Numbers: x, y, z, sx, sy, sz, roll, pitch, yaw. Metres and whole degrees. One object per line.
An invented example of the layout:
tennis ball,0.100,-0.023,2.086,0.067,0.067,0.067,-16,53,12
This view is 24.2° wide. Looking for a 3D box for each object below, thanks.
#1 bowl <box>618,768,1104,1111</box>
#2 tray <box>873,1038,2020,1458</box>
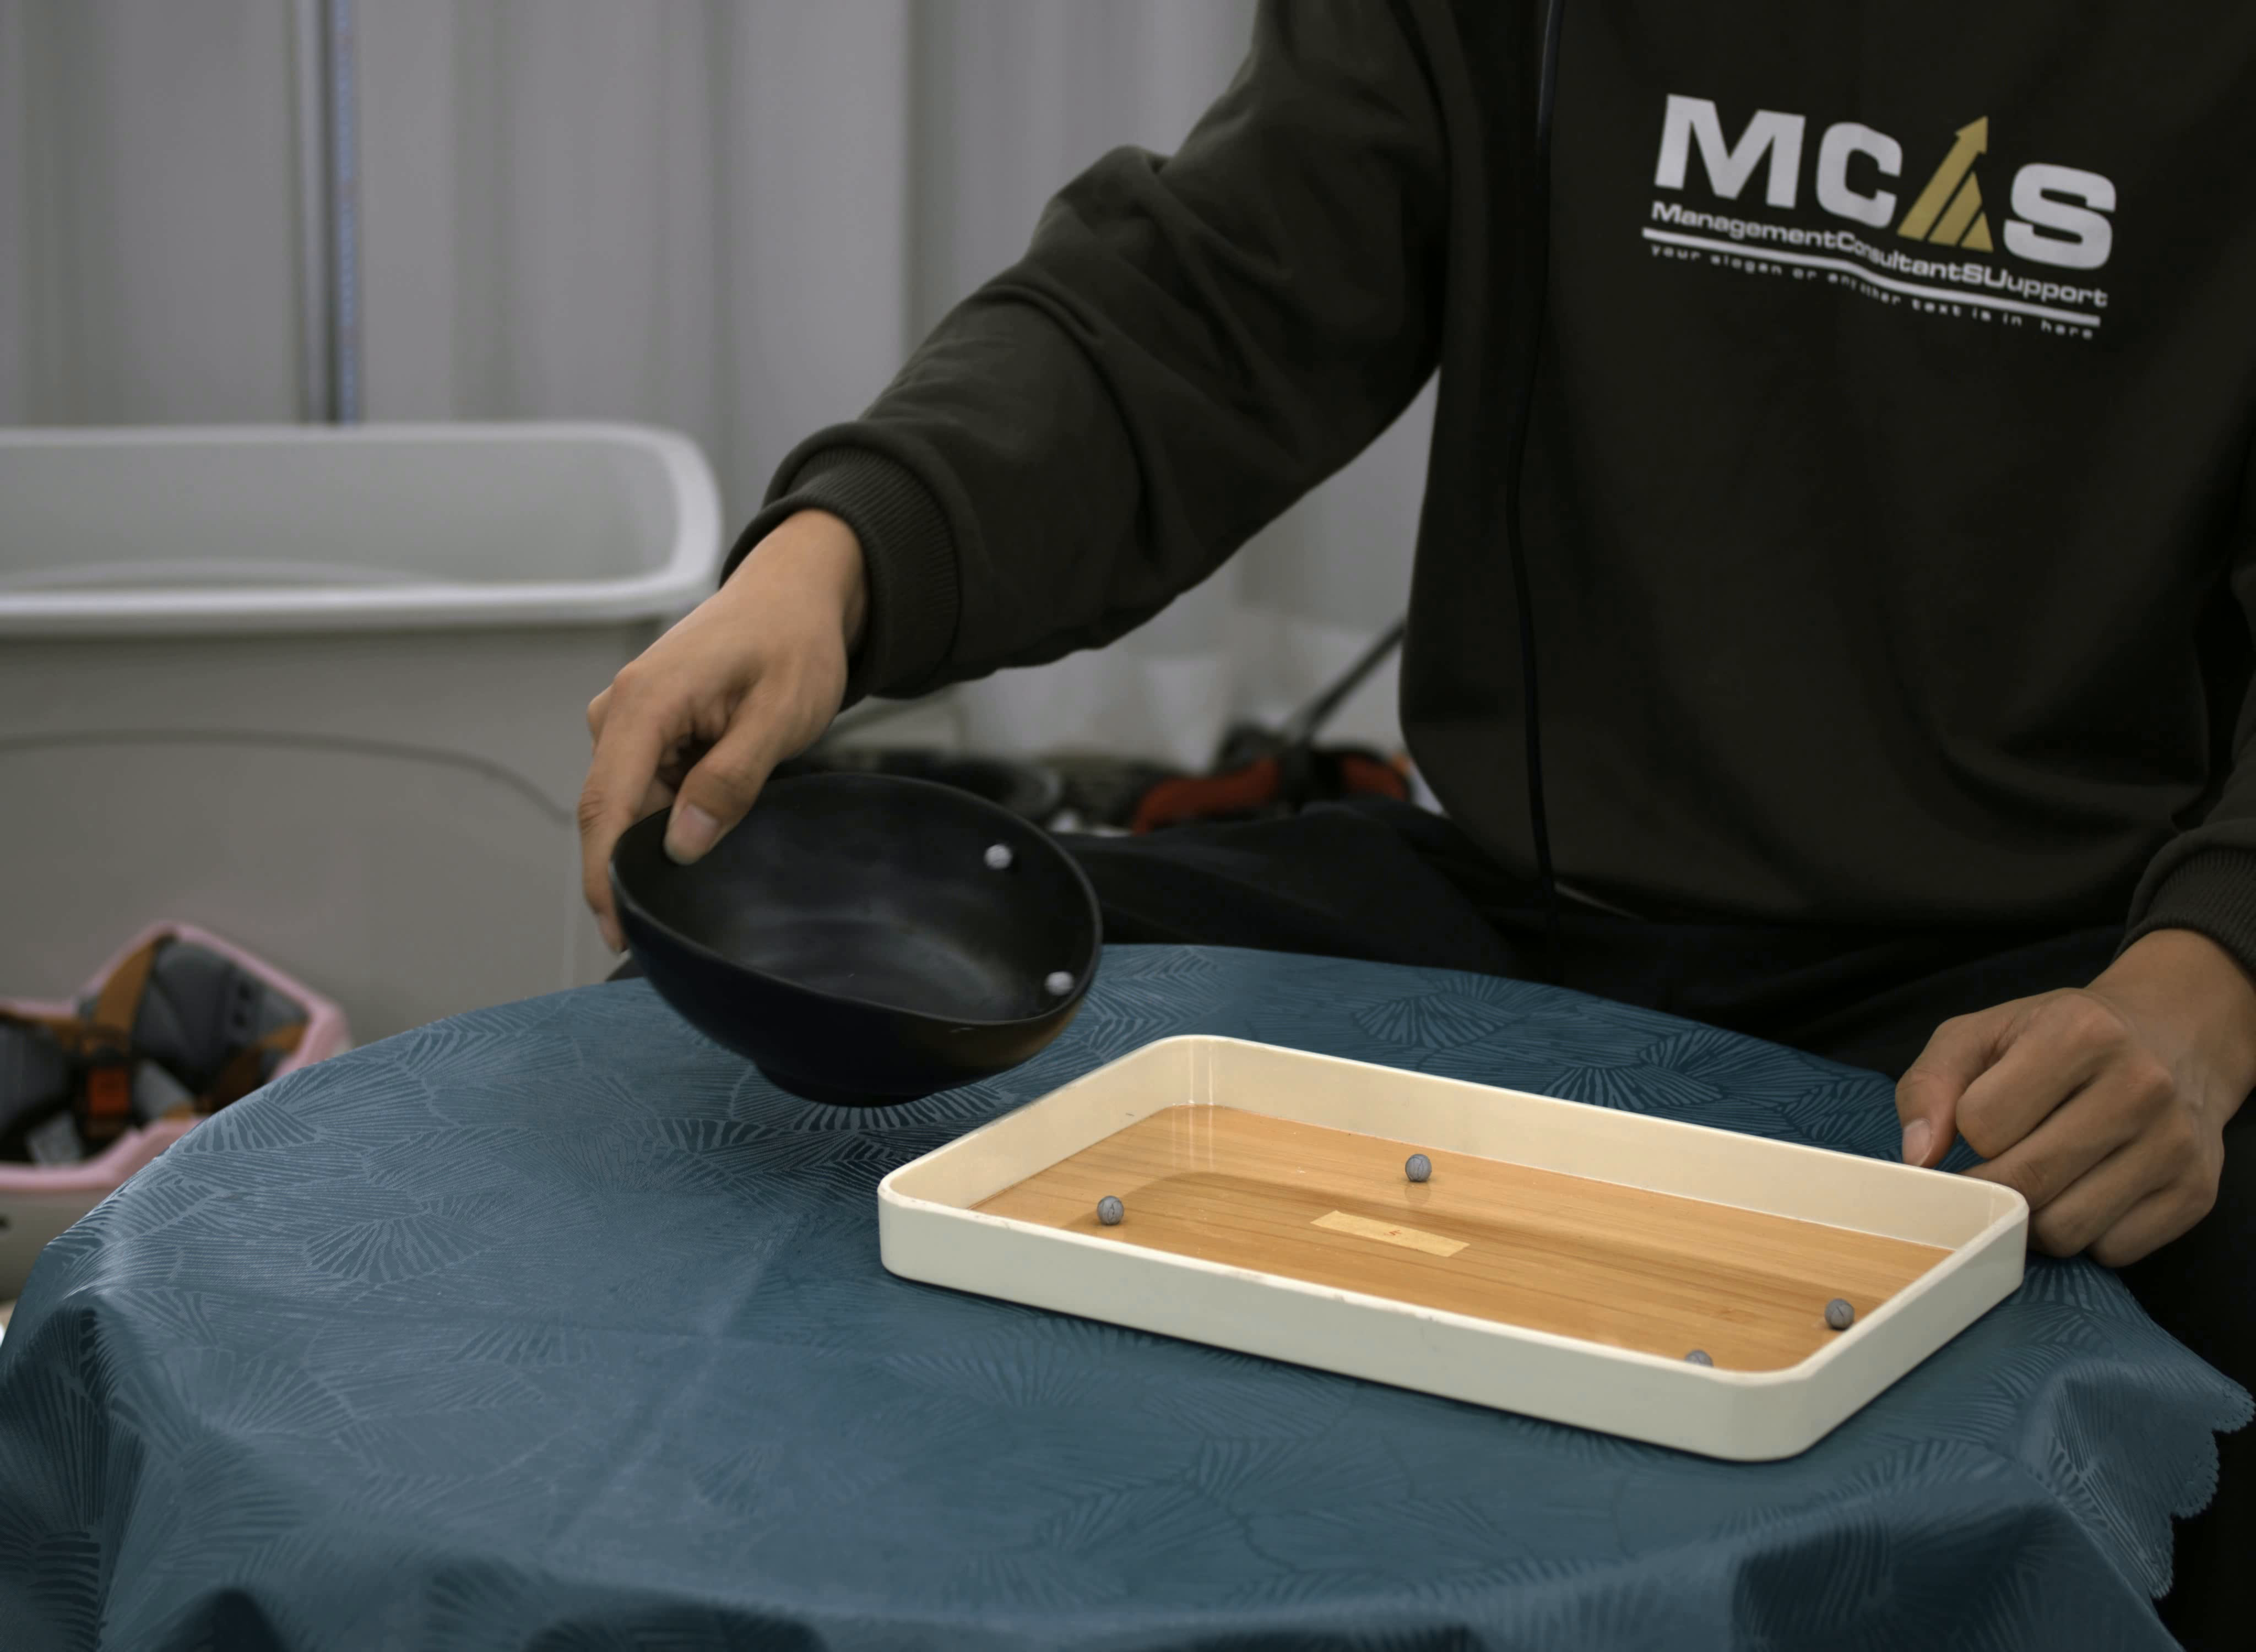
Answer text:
bowl,-0.083,0.043,1.658,0.168,0.067,0.137,24,35,31
tray,0.094,0.120,1.559,0.297,0.027,0.192,9,17,29
